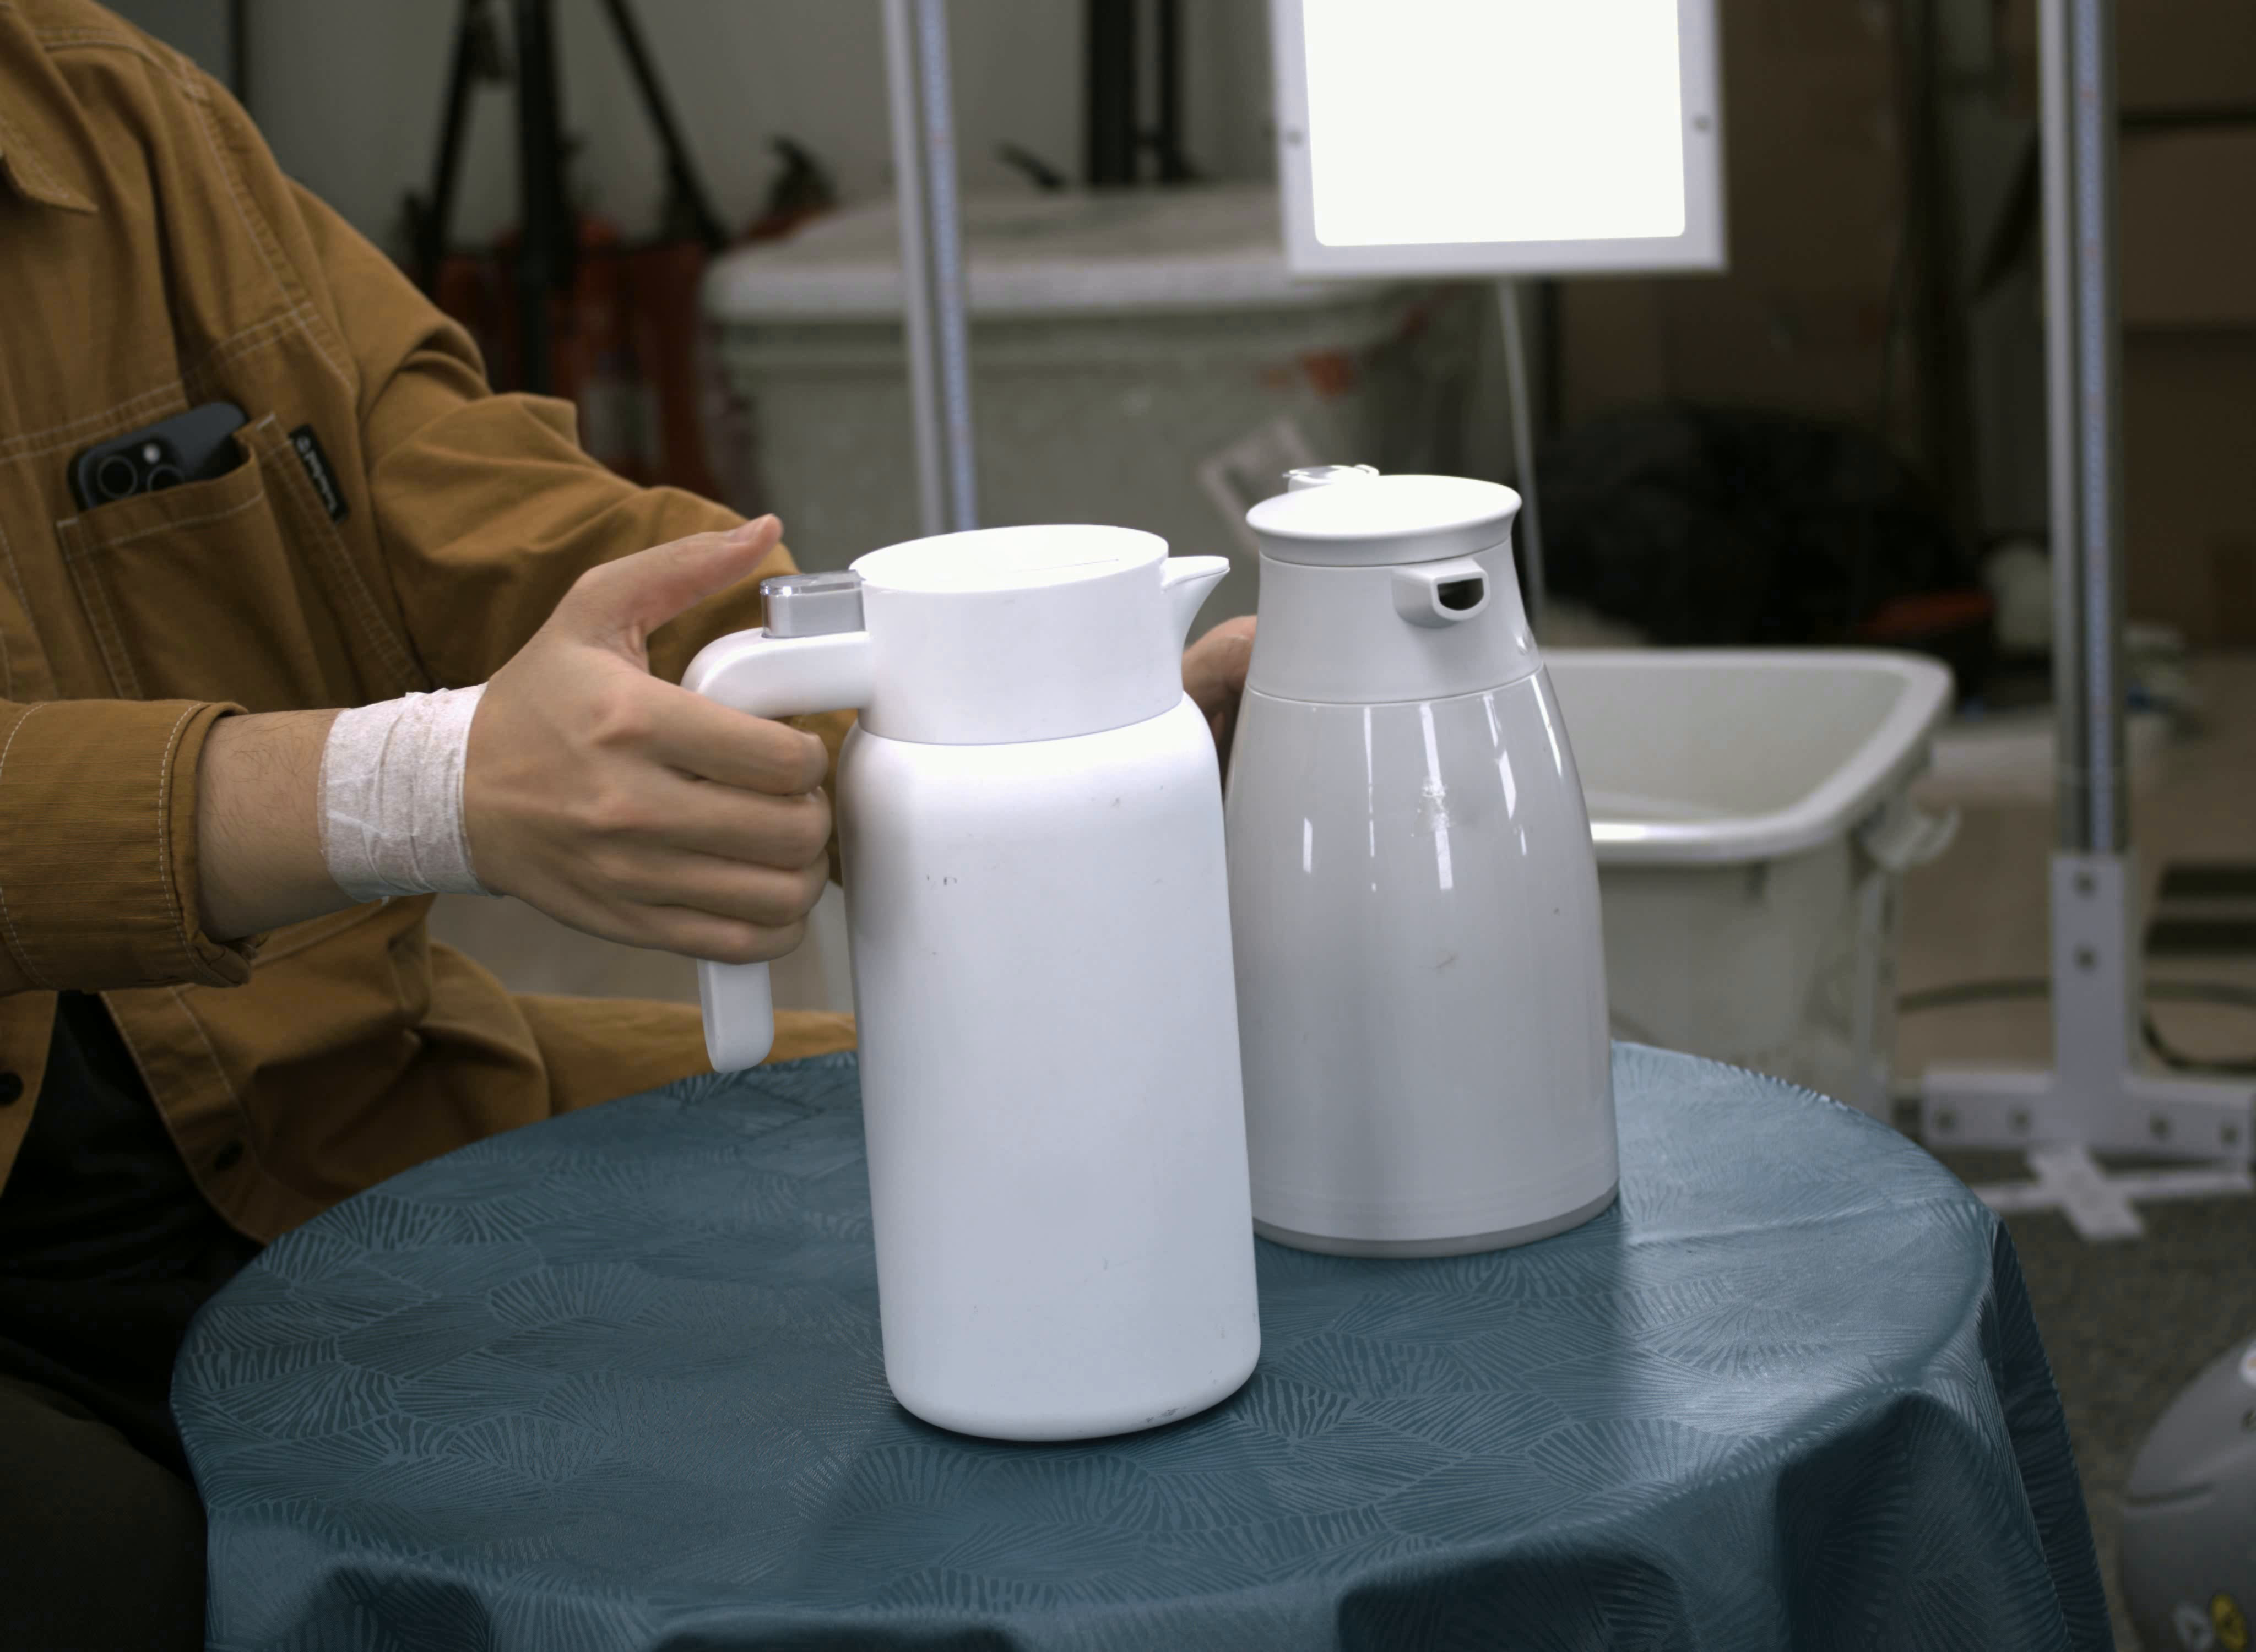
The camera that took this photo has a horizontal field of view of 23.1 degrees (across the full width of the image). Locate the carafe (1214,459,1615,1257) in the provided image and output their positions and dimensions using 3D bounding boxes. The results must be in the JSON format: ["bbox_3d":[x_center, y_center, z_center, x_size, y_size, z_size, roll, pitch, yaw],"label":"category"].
[{"bbox_3d":[0.084,0.002,1.851,0.130,0.249,0.170,-9,14,-19],"label":"carafe"}]

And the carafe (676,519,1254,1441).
[{"bbox_3d":[-0.044,0.047,1.674,0.171,0.270,0.124,-7,16,-10],"label":"carafe"}]
